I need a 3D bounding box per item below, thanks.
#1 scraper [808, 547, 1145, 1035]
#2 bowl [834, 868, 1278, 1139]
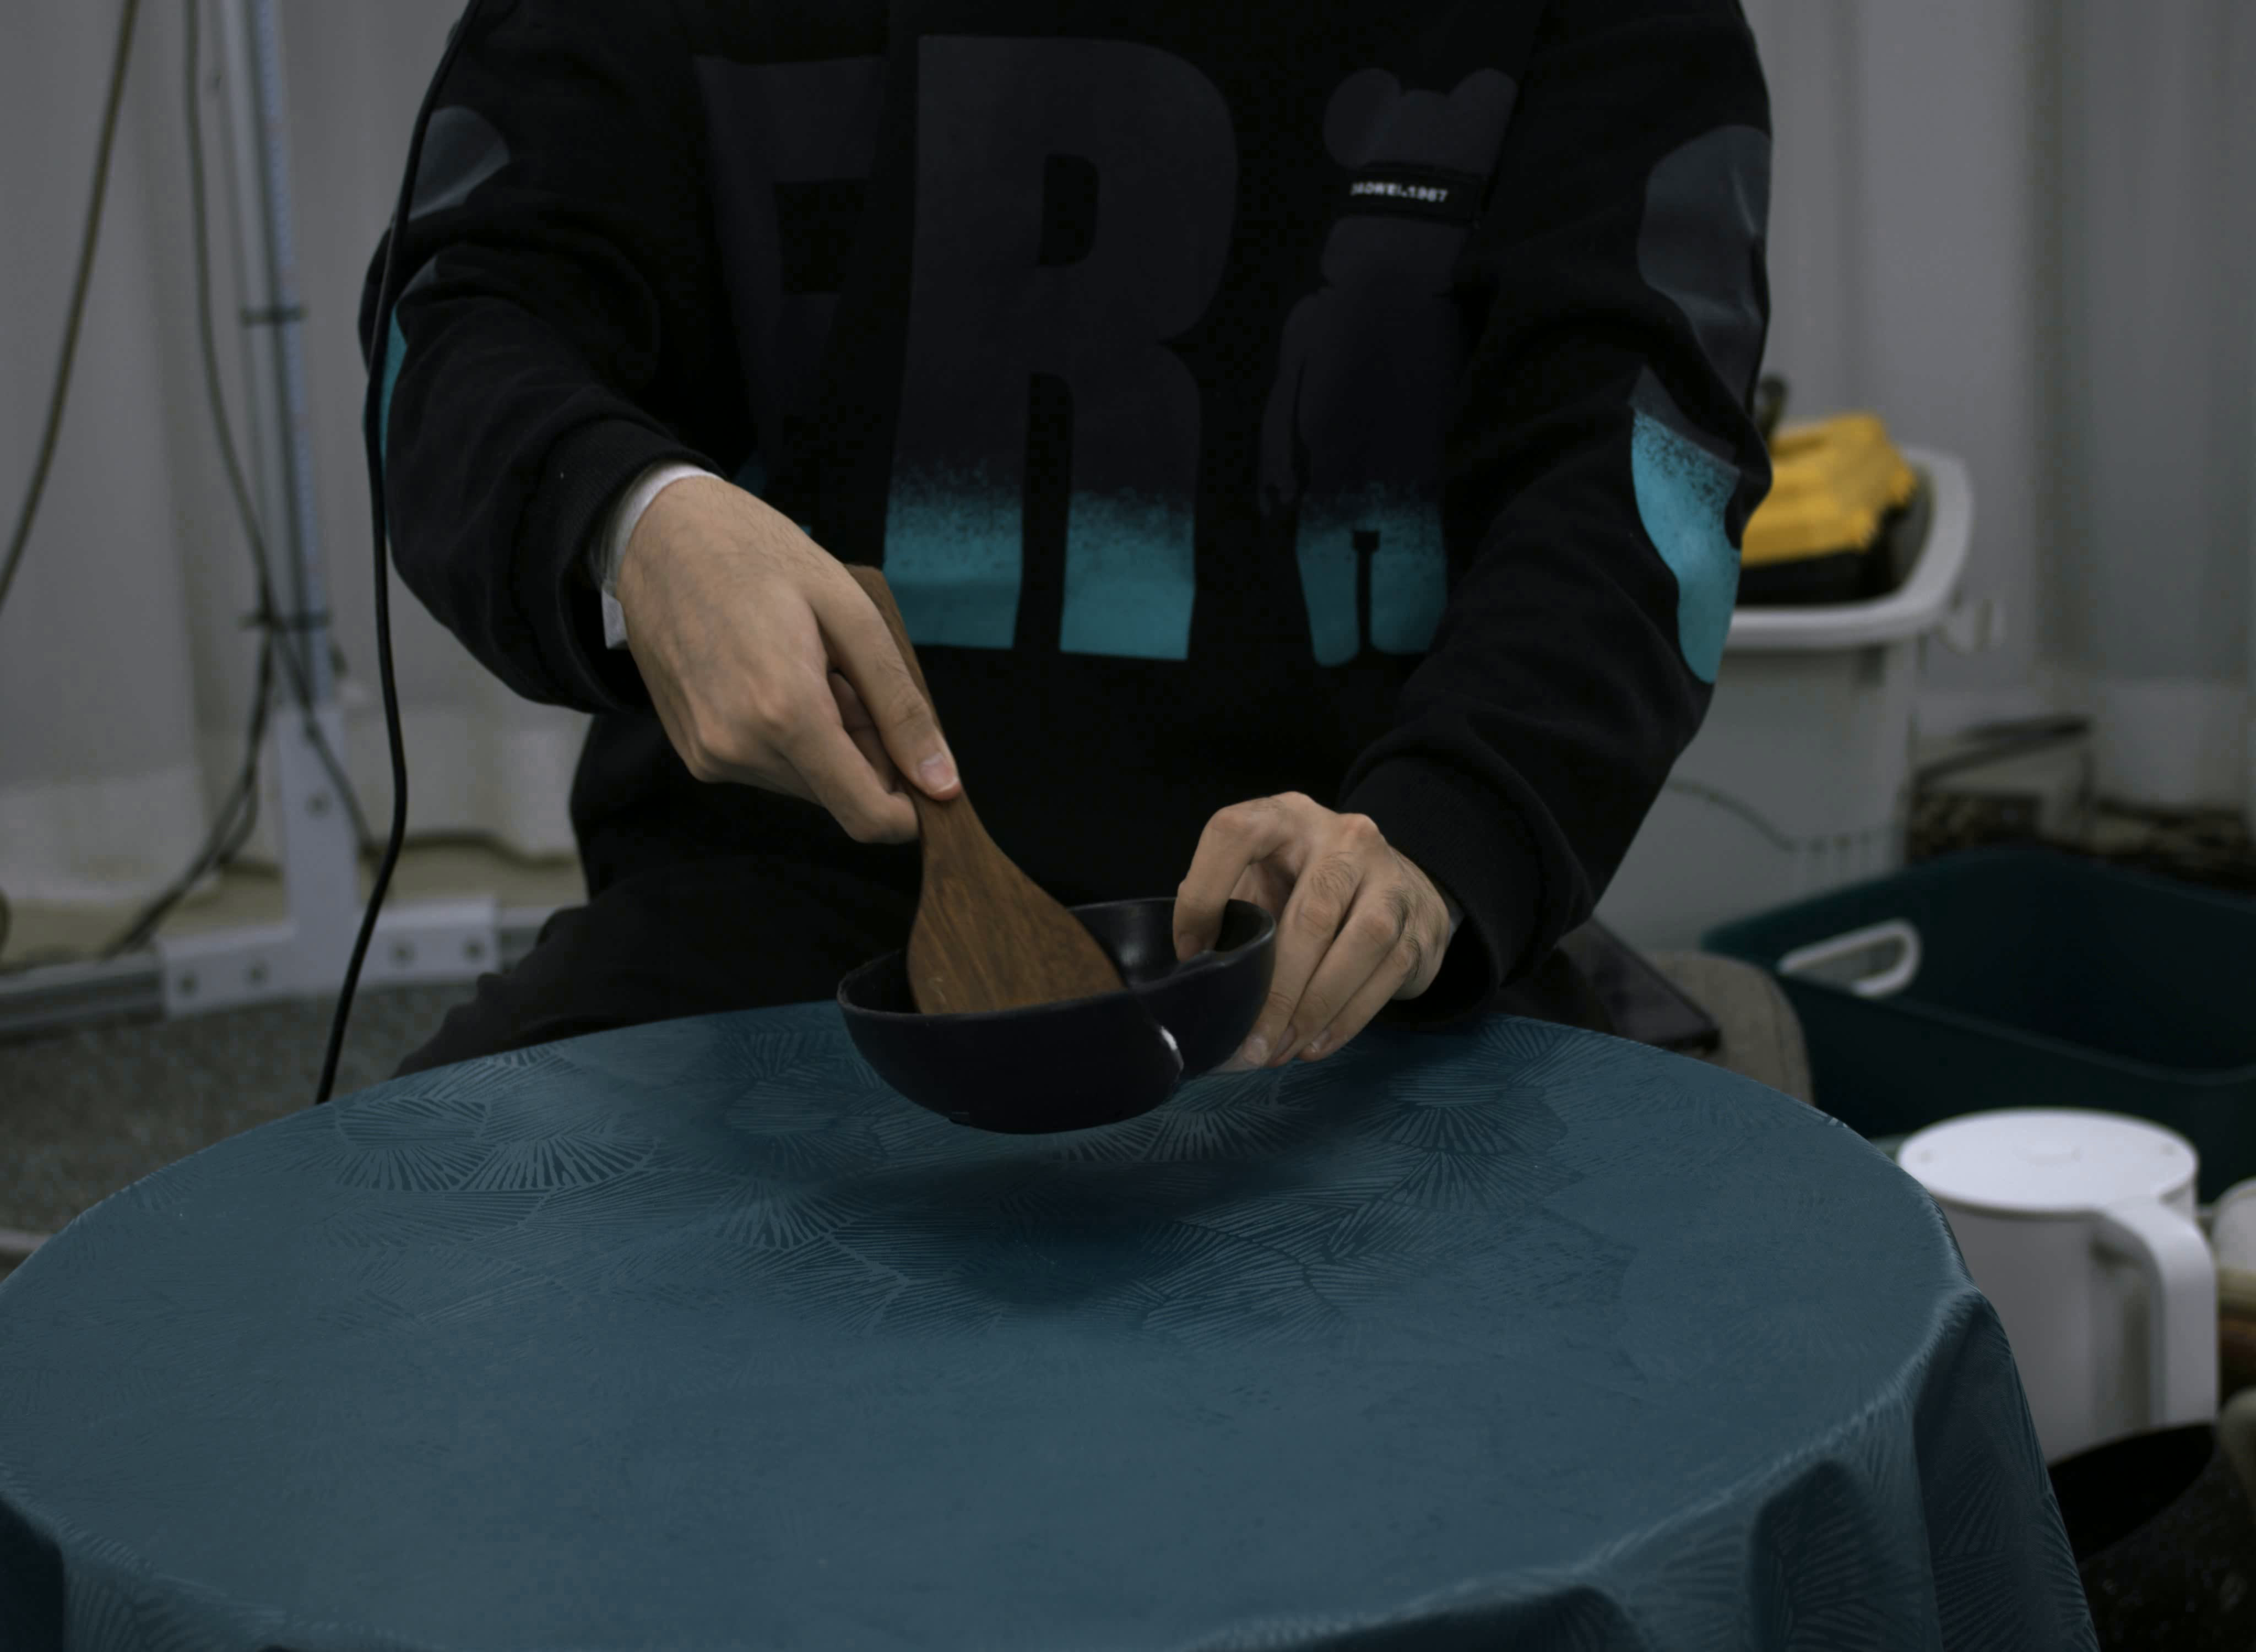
[{"bbox_3d":[-0.058,-0.005,1.760,0.075,0.011,0.214,-7,57,-27],"label":"scraper"},{"bbox_3d":[-0.019,0.061,1.693,0.139,0.049,0.141,-7,19,2],"label":"bowl"}]
